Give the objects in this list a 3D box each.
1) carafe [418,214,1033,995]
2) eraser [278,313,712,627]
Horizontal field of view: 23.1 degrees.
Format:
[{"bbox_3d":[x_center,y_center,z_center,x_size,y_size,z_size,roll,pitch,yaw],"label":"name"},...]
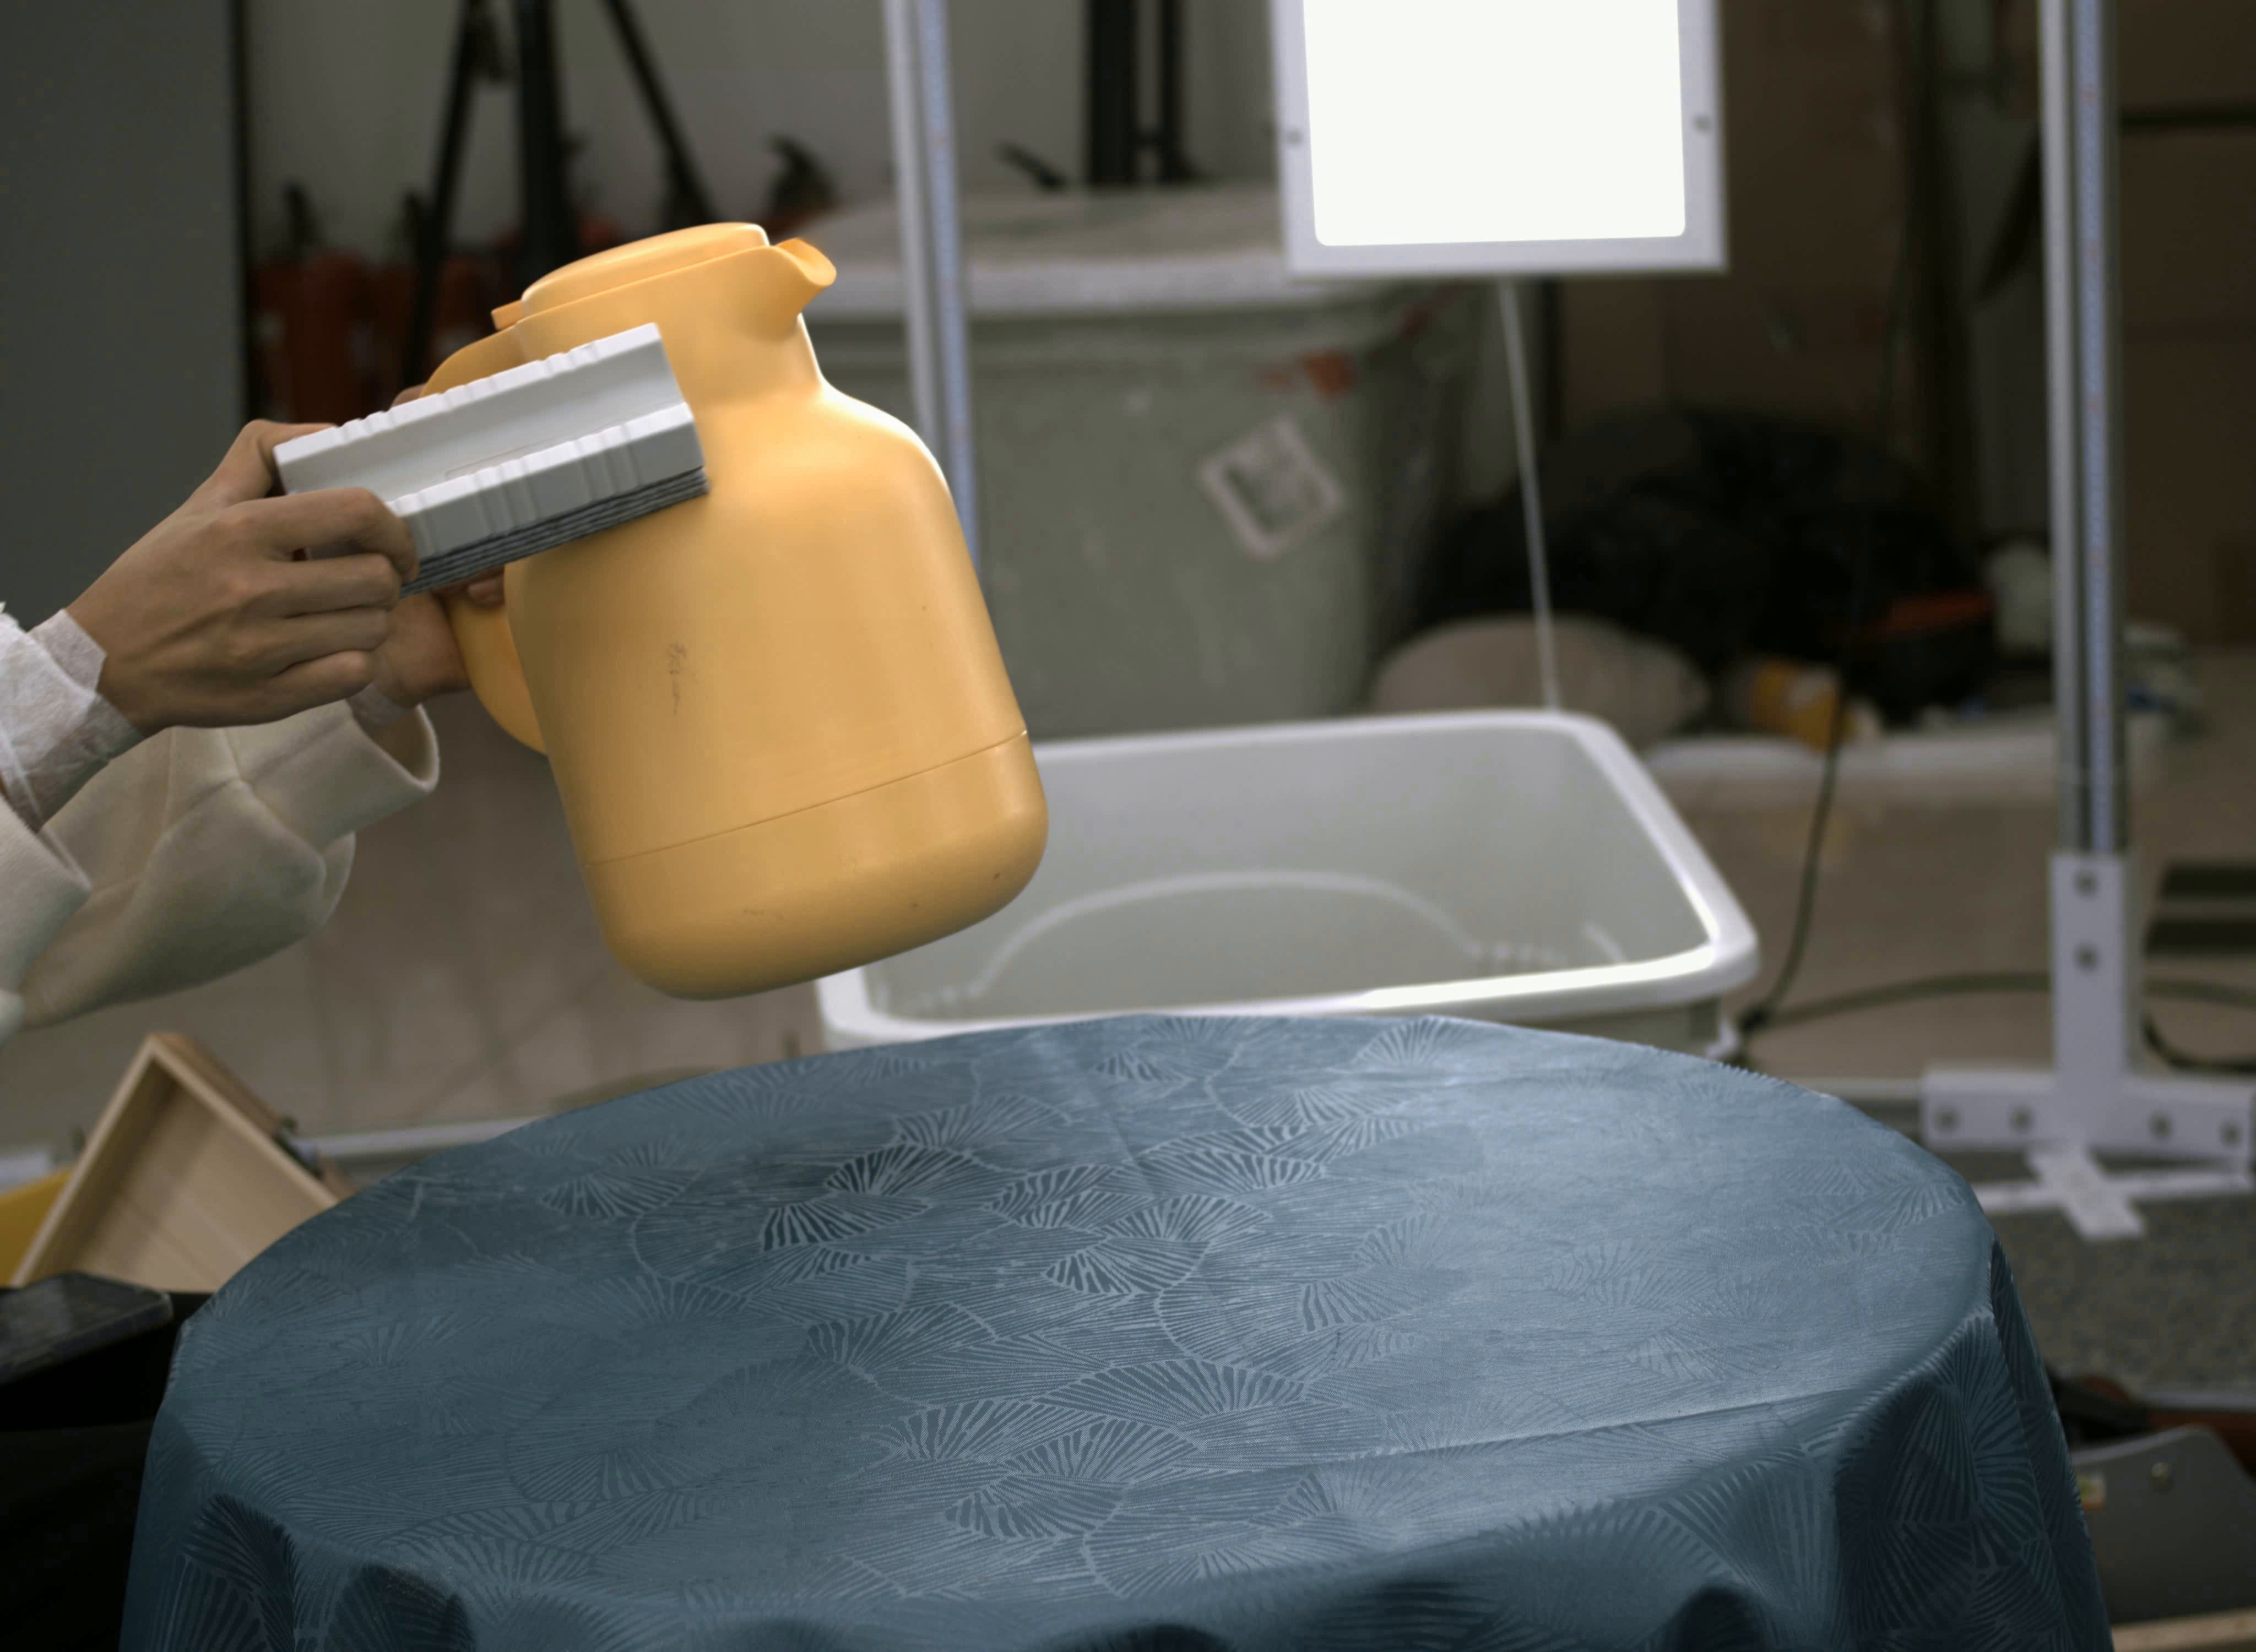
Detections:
[{"bbox_3d":[-0.150,-0.077,1.926,0.207,0.261,0.159,-12,3,37],"label":"carafe"},{"bbox_3d":[-0.208,-0.117,1.830,0.133,0.046,0.050,-21,57,-6],"label":"eraser"}]
